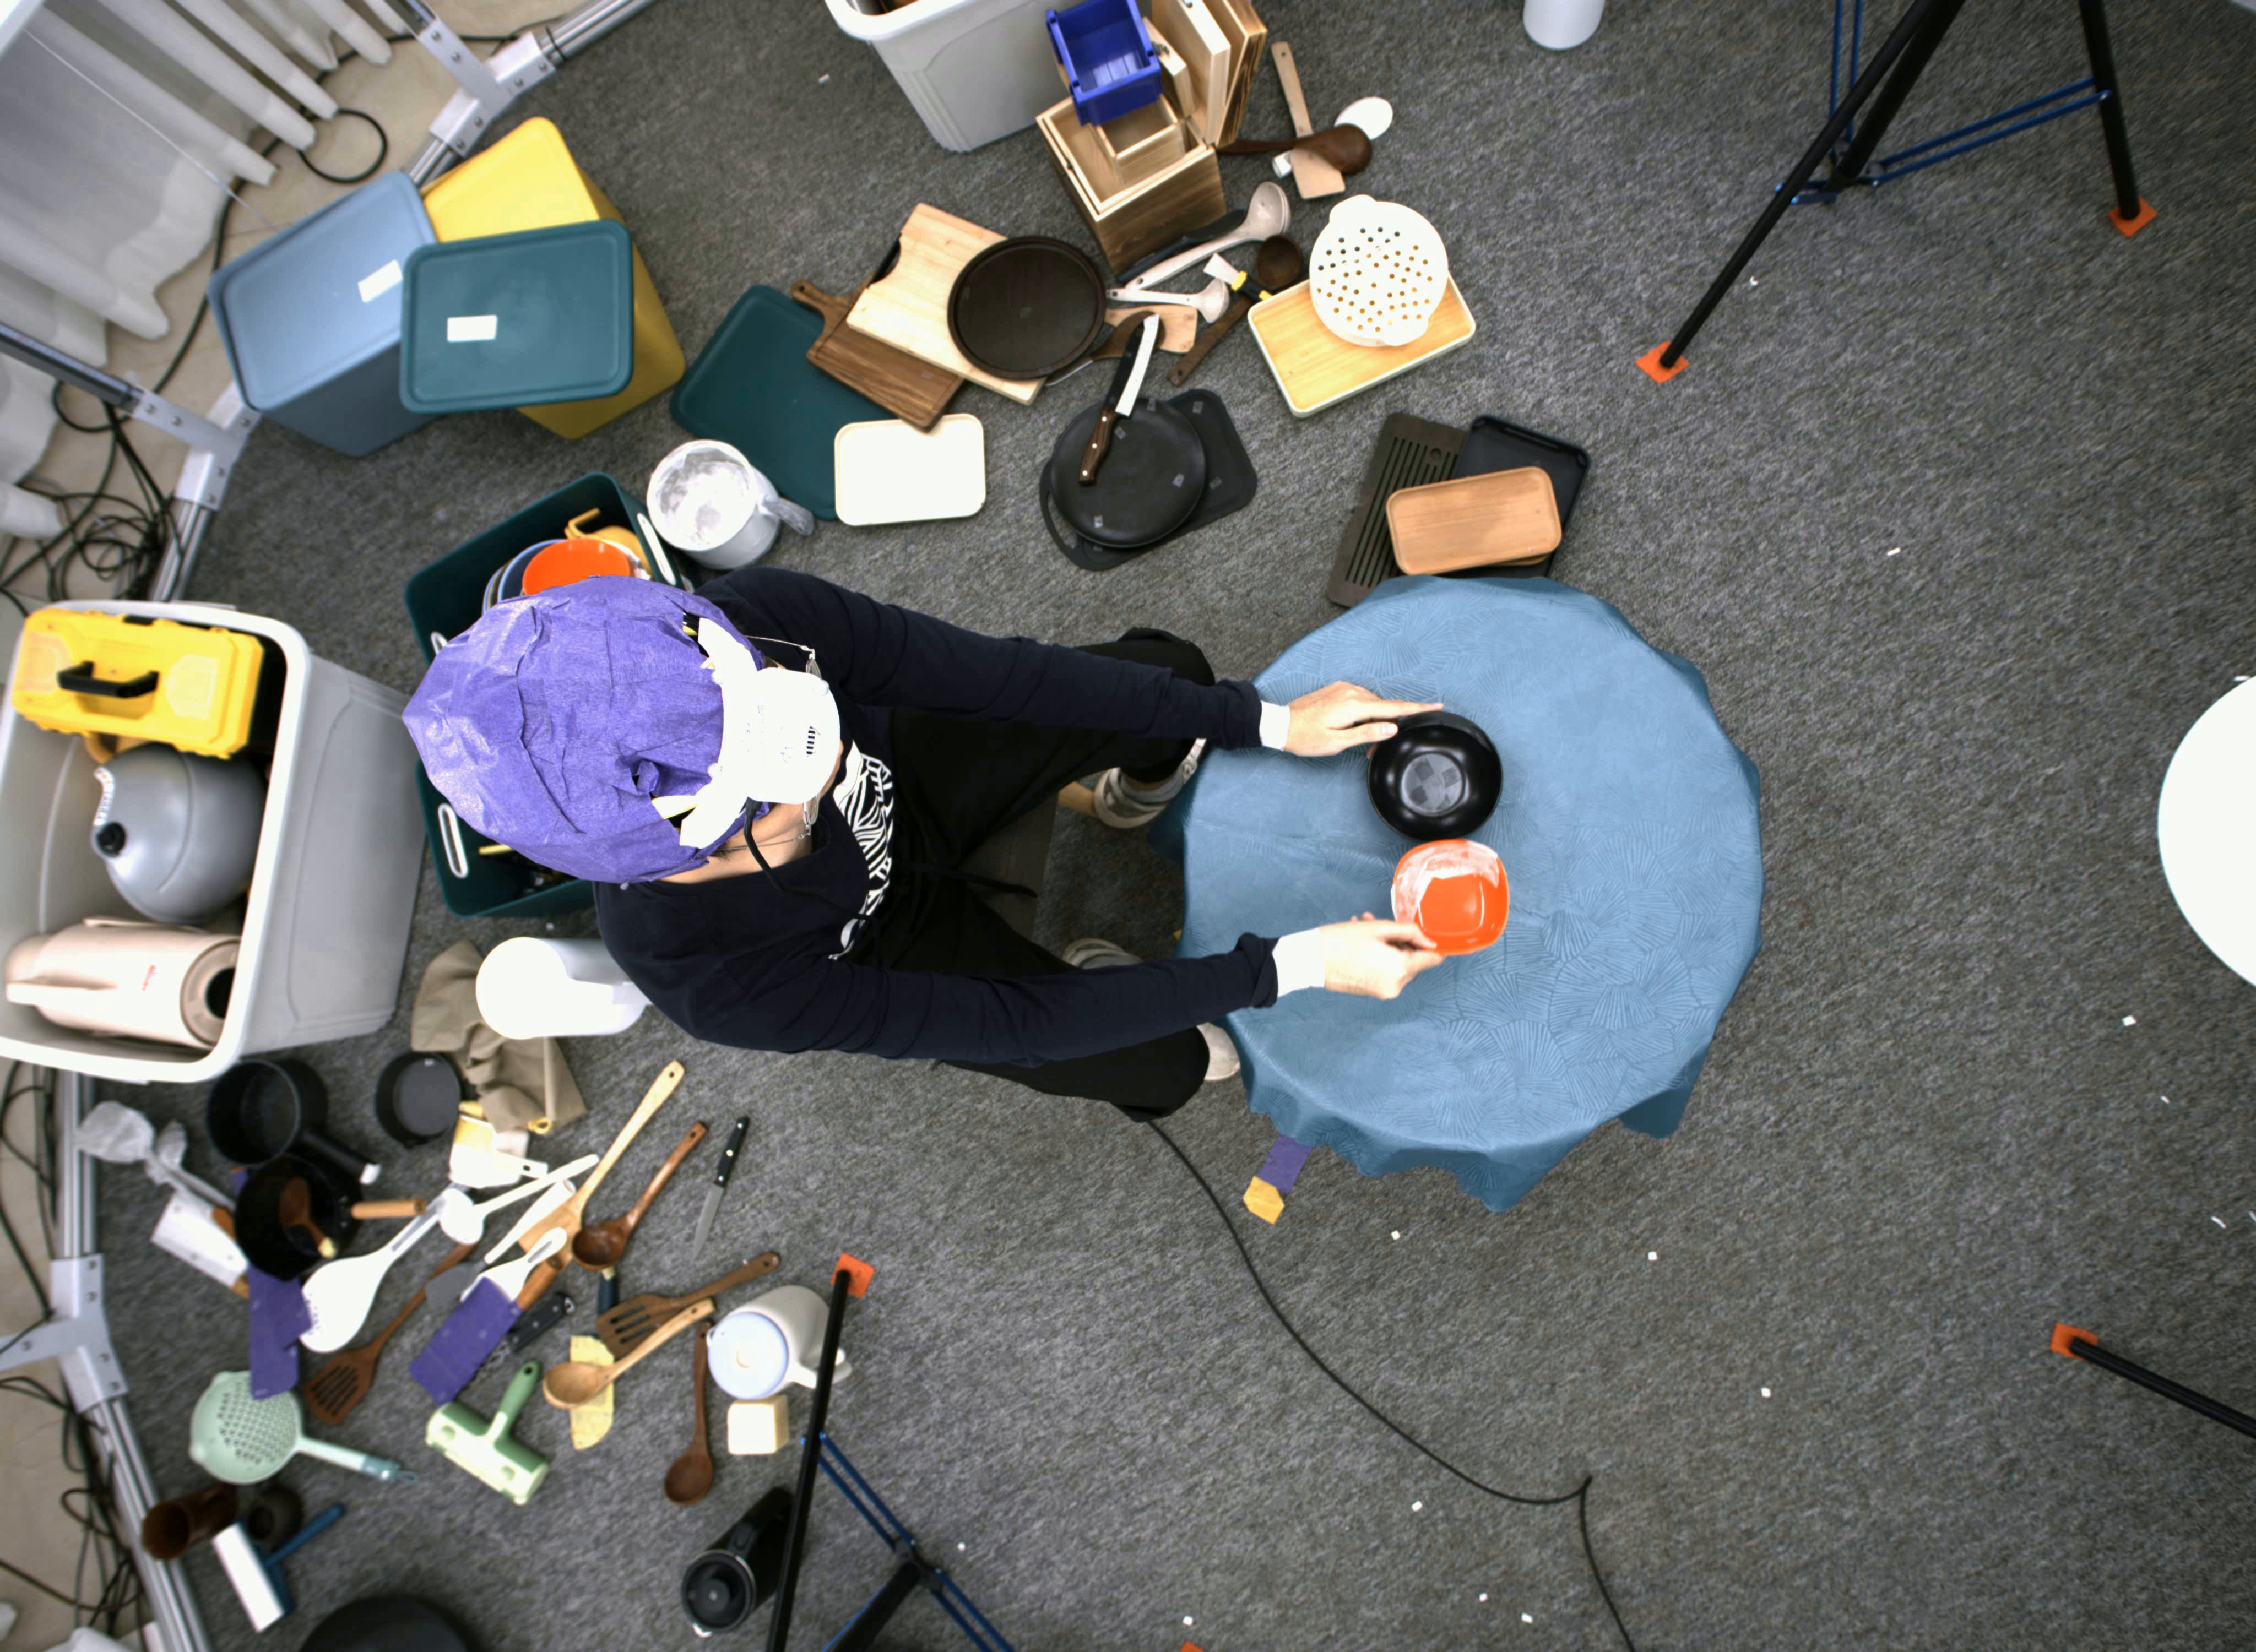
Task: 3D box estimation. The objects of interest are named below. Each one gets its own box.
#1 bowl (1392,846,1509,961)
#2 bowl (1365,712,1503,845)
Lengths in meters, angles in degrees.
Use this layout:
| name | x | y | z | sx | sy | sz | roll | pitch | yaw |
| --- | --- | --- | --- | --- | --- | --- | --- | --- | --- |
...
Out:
| name | x | y | z | sx | sy | sz | roll | pitch | yaw |
| --- | --- | --- | --- | --- | --- | --- | --- | --- | --- |
| bowl | 0.311 | 0.073 | 1.335 | 0.119 | 0.051 | 0.118 | 0 | 88 | 9 |
| bowl | 0.319 | -0.048 | 1.435 | 0.141 | 0.050 | 0.139 | -1 | 87 | 15 |
